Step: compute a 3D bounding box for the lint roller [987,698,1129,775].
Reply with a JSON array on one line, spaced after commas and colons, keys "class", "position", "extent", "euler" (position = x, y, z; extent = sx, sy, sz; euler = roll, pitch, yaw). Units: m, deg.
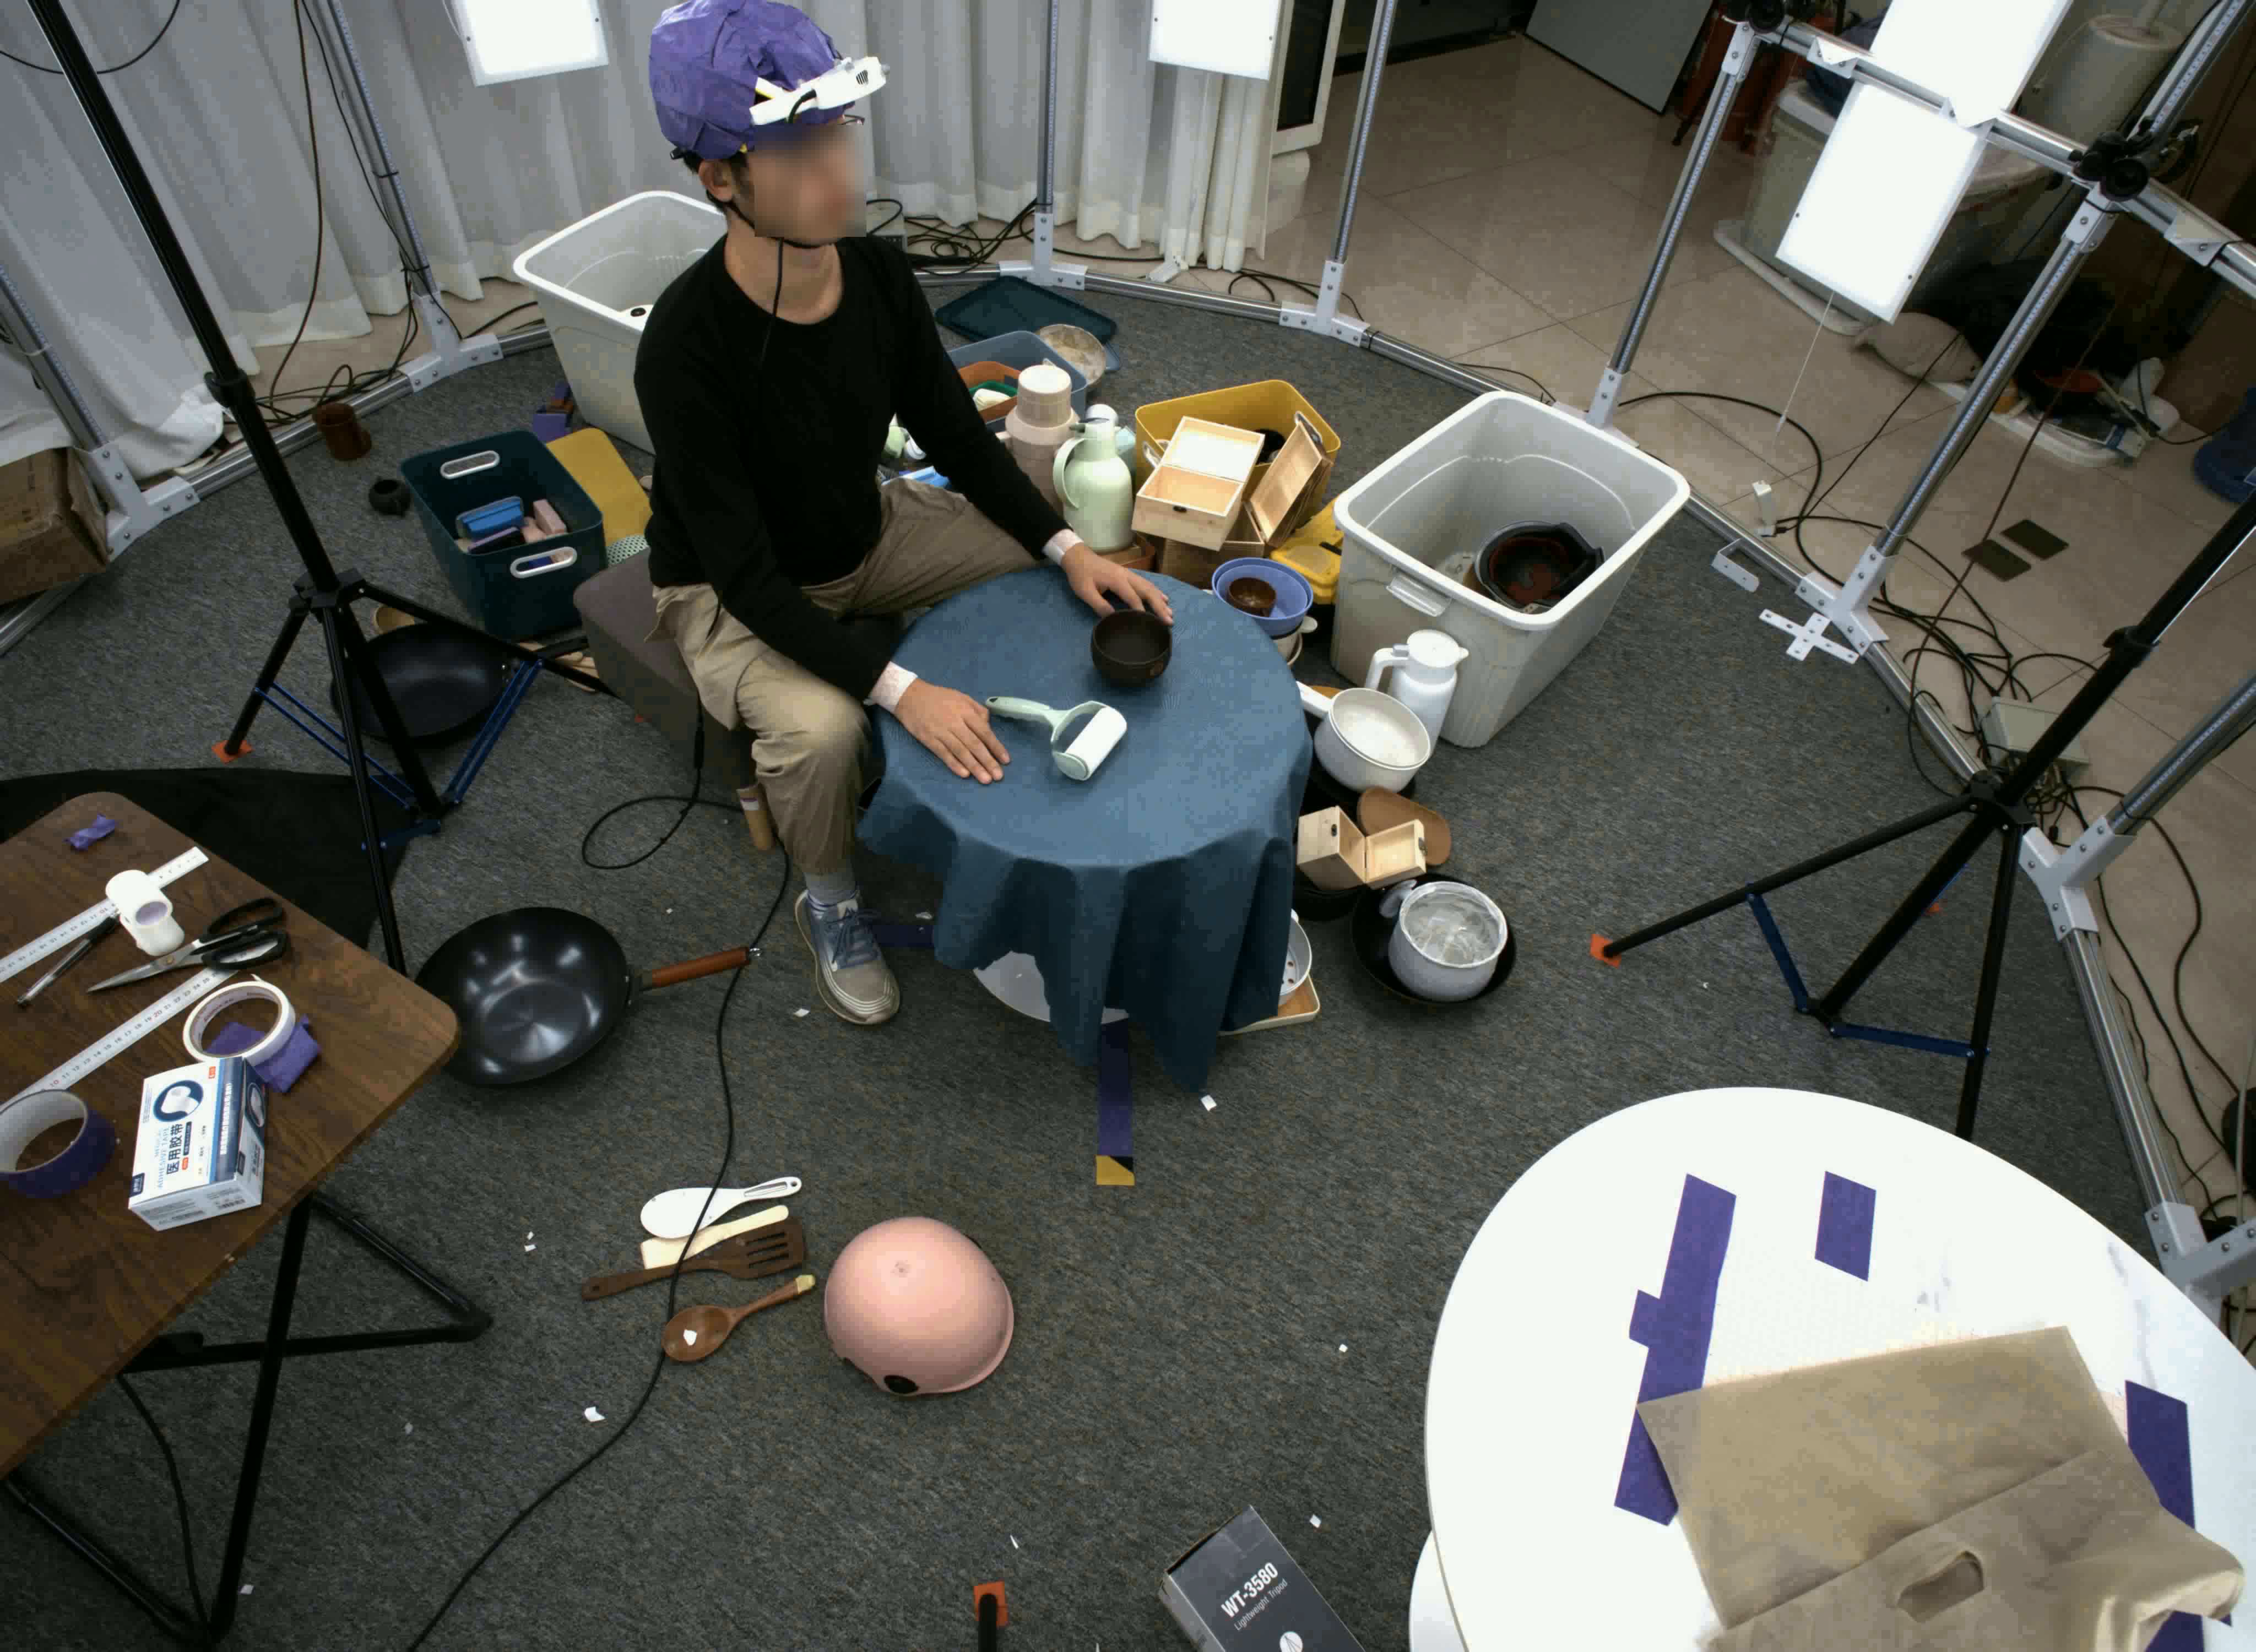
[{"class": "lint roller", "position": [-0.106, -0.146, 1.761], "extent": [0.199, 0.047, 0.118], "euler": [24, 53, 18]}]

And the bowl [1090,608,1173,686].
[{"class": "bowl", "position": [0.004, -0.248, 1.839], "extent": [0.118, 0.068, 0.121], "euler": [1, 49, -2]}]
